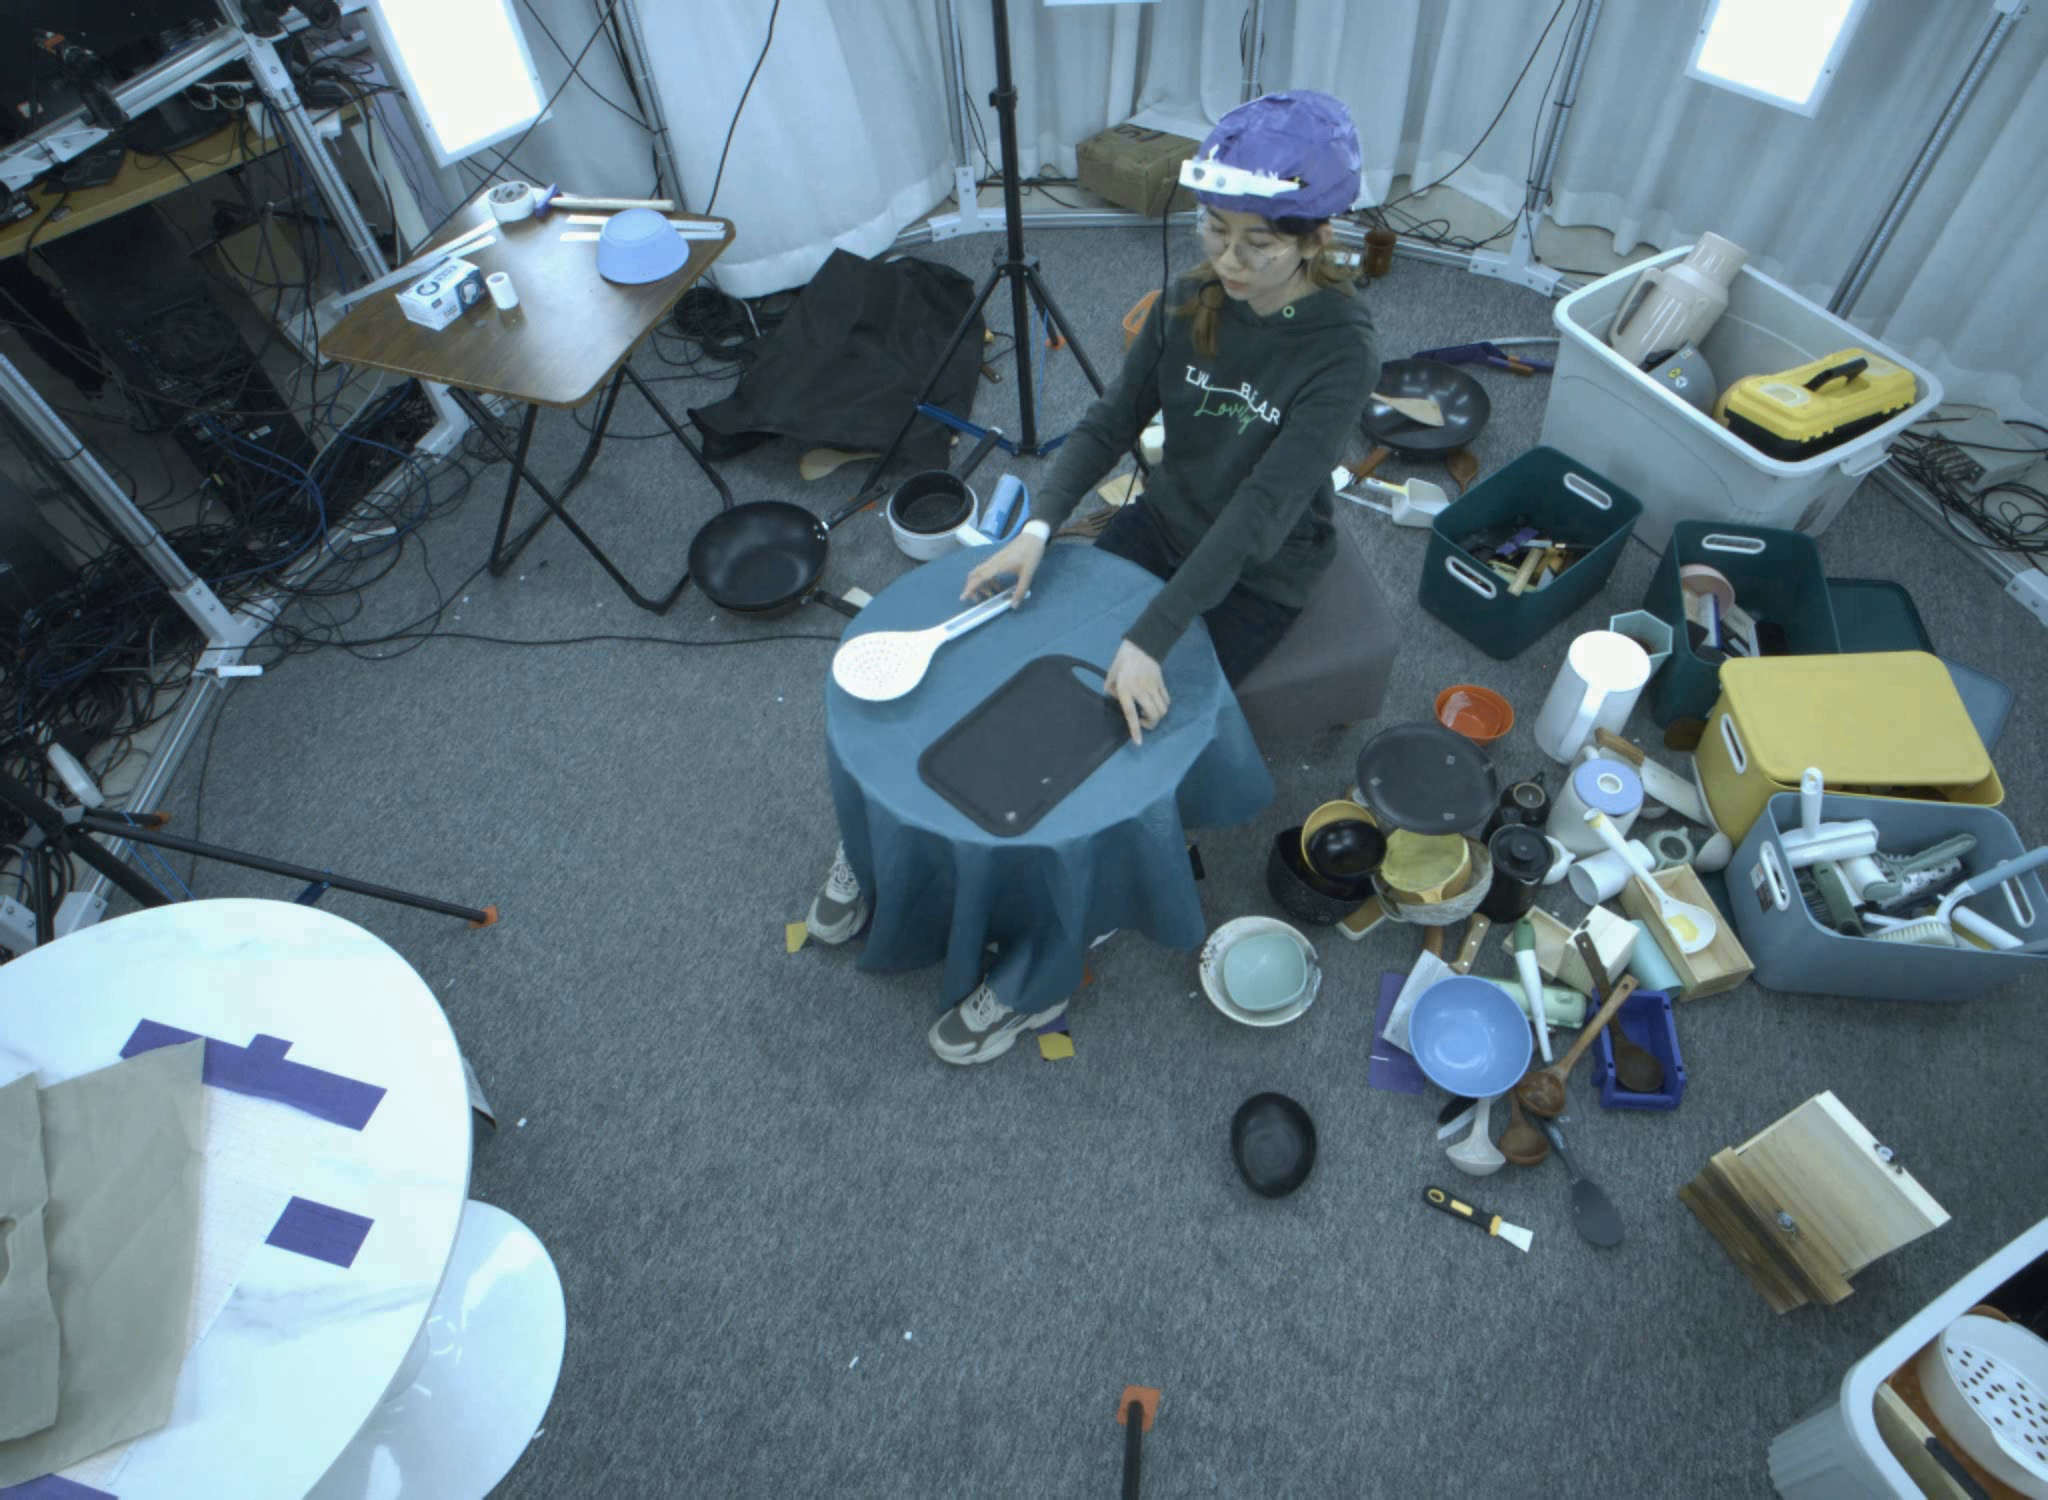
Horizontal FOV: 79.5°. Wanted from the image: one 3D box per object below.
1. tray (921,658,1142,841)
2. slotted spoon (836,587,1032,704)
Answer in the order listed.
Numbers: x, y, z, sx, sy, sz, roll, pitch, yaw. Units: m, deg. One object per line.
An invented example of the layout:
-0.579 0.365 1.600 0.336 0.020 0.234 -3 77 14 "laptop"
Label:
0.017 -0.014 1.803 0.207 0.010 0.327 37 63 24 "tray"
-0.132 -0.170 1.893 0.352 0.046 0.133 -34 63 -21 "slotted spoon"
